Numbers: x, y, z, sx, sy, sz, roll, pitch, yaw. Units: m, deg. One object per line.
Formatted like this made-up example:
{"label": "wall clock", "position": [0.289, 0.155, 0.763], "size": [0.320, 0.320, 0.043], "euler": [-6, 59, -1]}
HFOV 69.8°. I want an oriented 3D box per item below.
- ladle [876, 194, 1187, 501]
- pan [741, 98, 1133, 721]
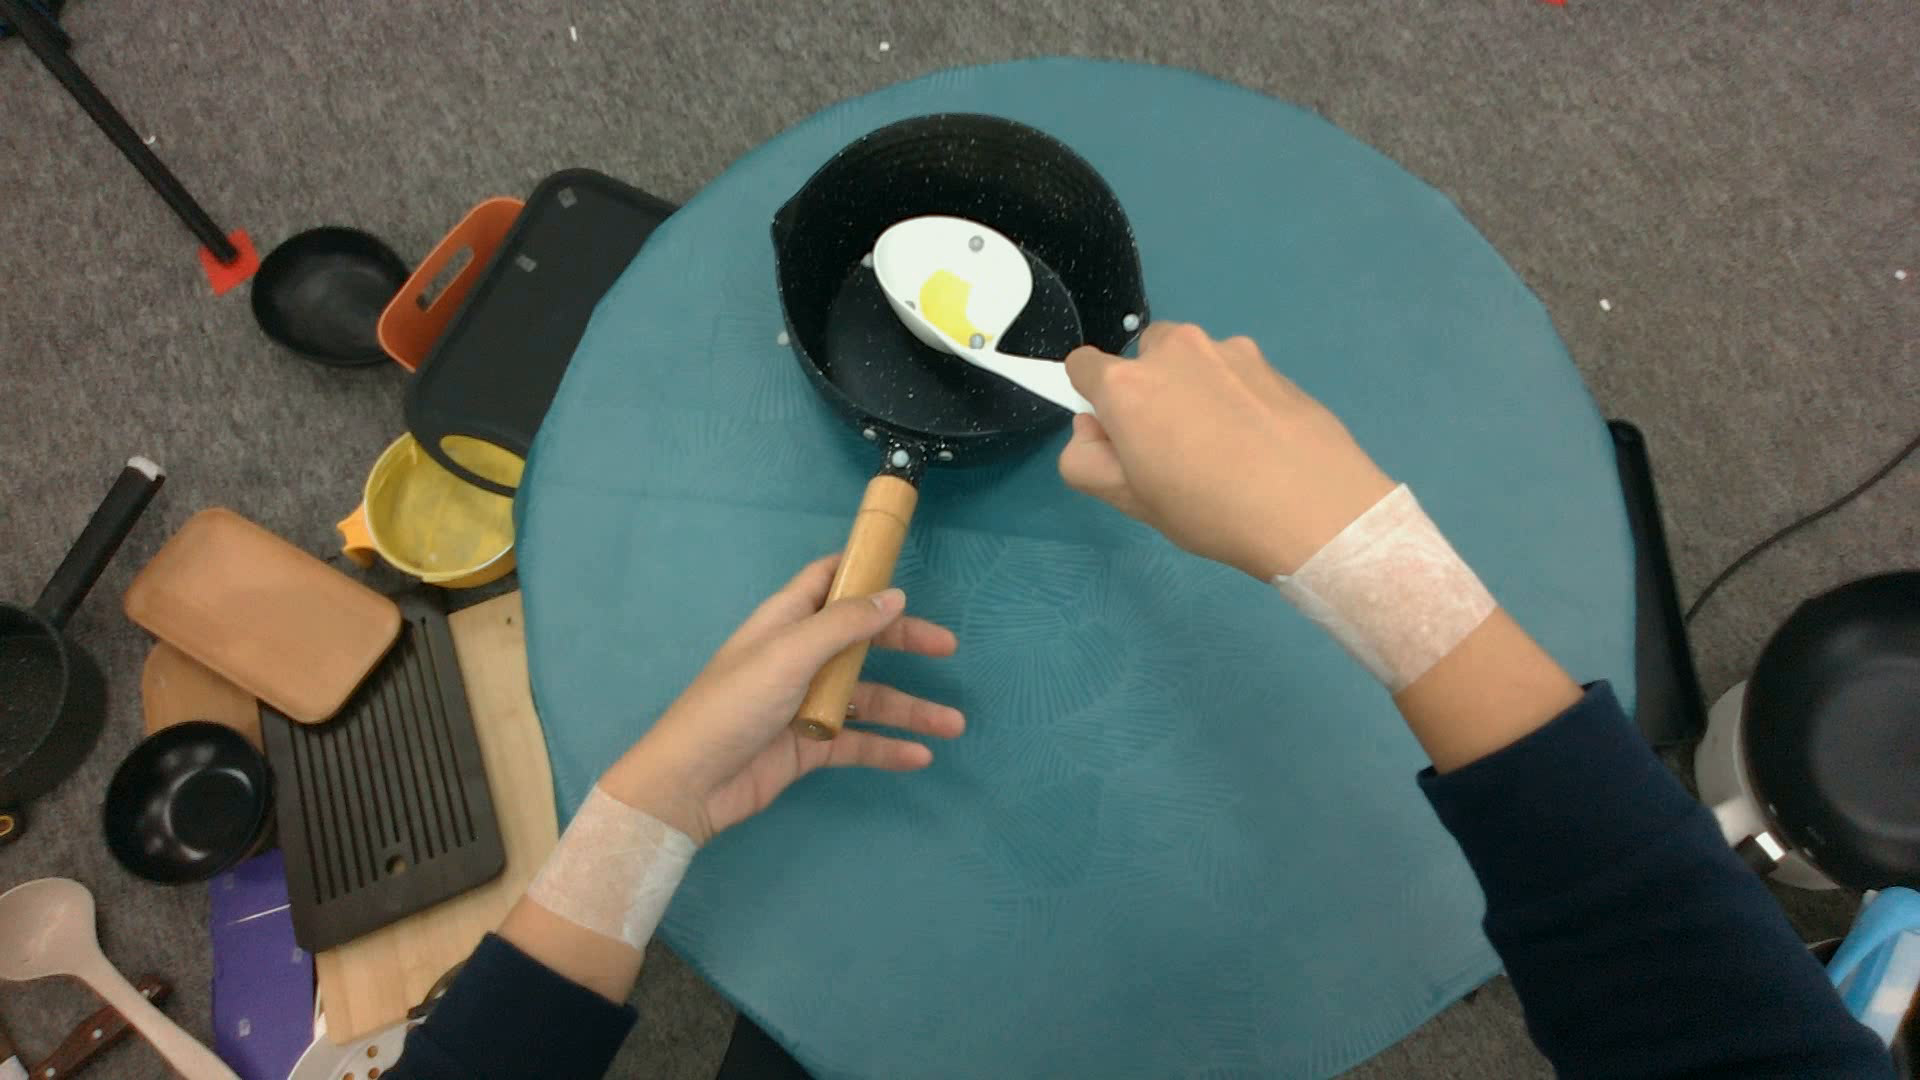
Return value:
{"label": "ladle", "position": [0.032, -0.103, 0.658], "size": [0.090, 0.293, 0.070], "euler": [7, 110, -23]}
{"label": "pan", "position": [-0.030, -0.063, 0.698], "size": [0.207, 0.108, 0.344], "euler": [14, 70, 1]}
